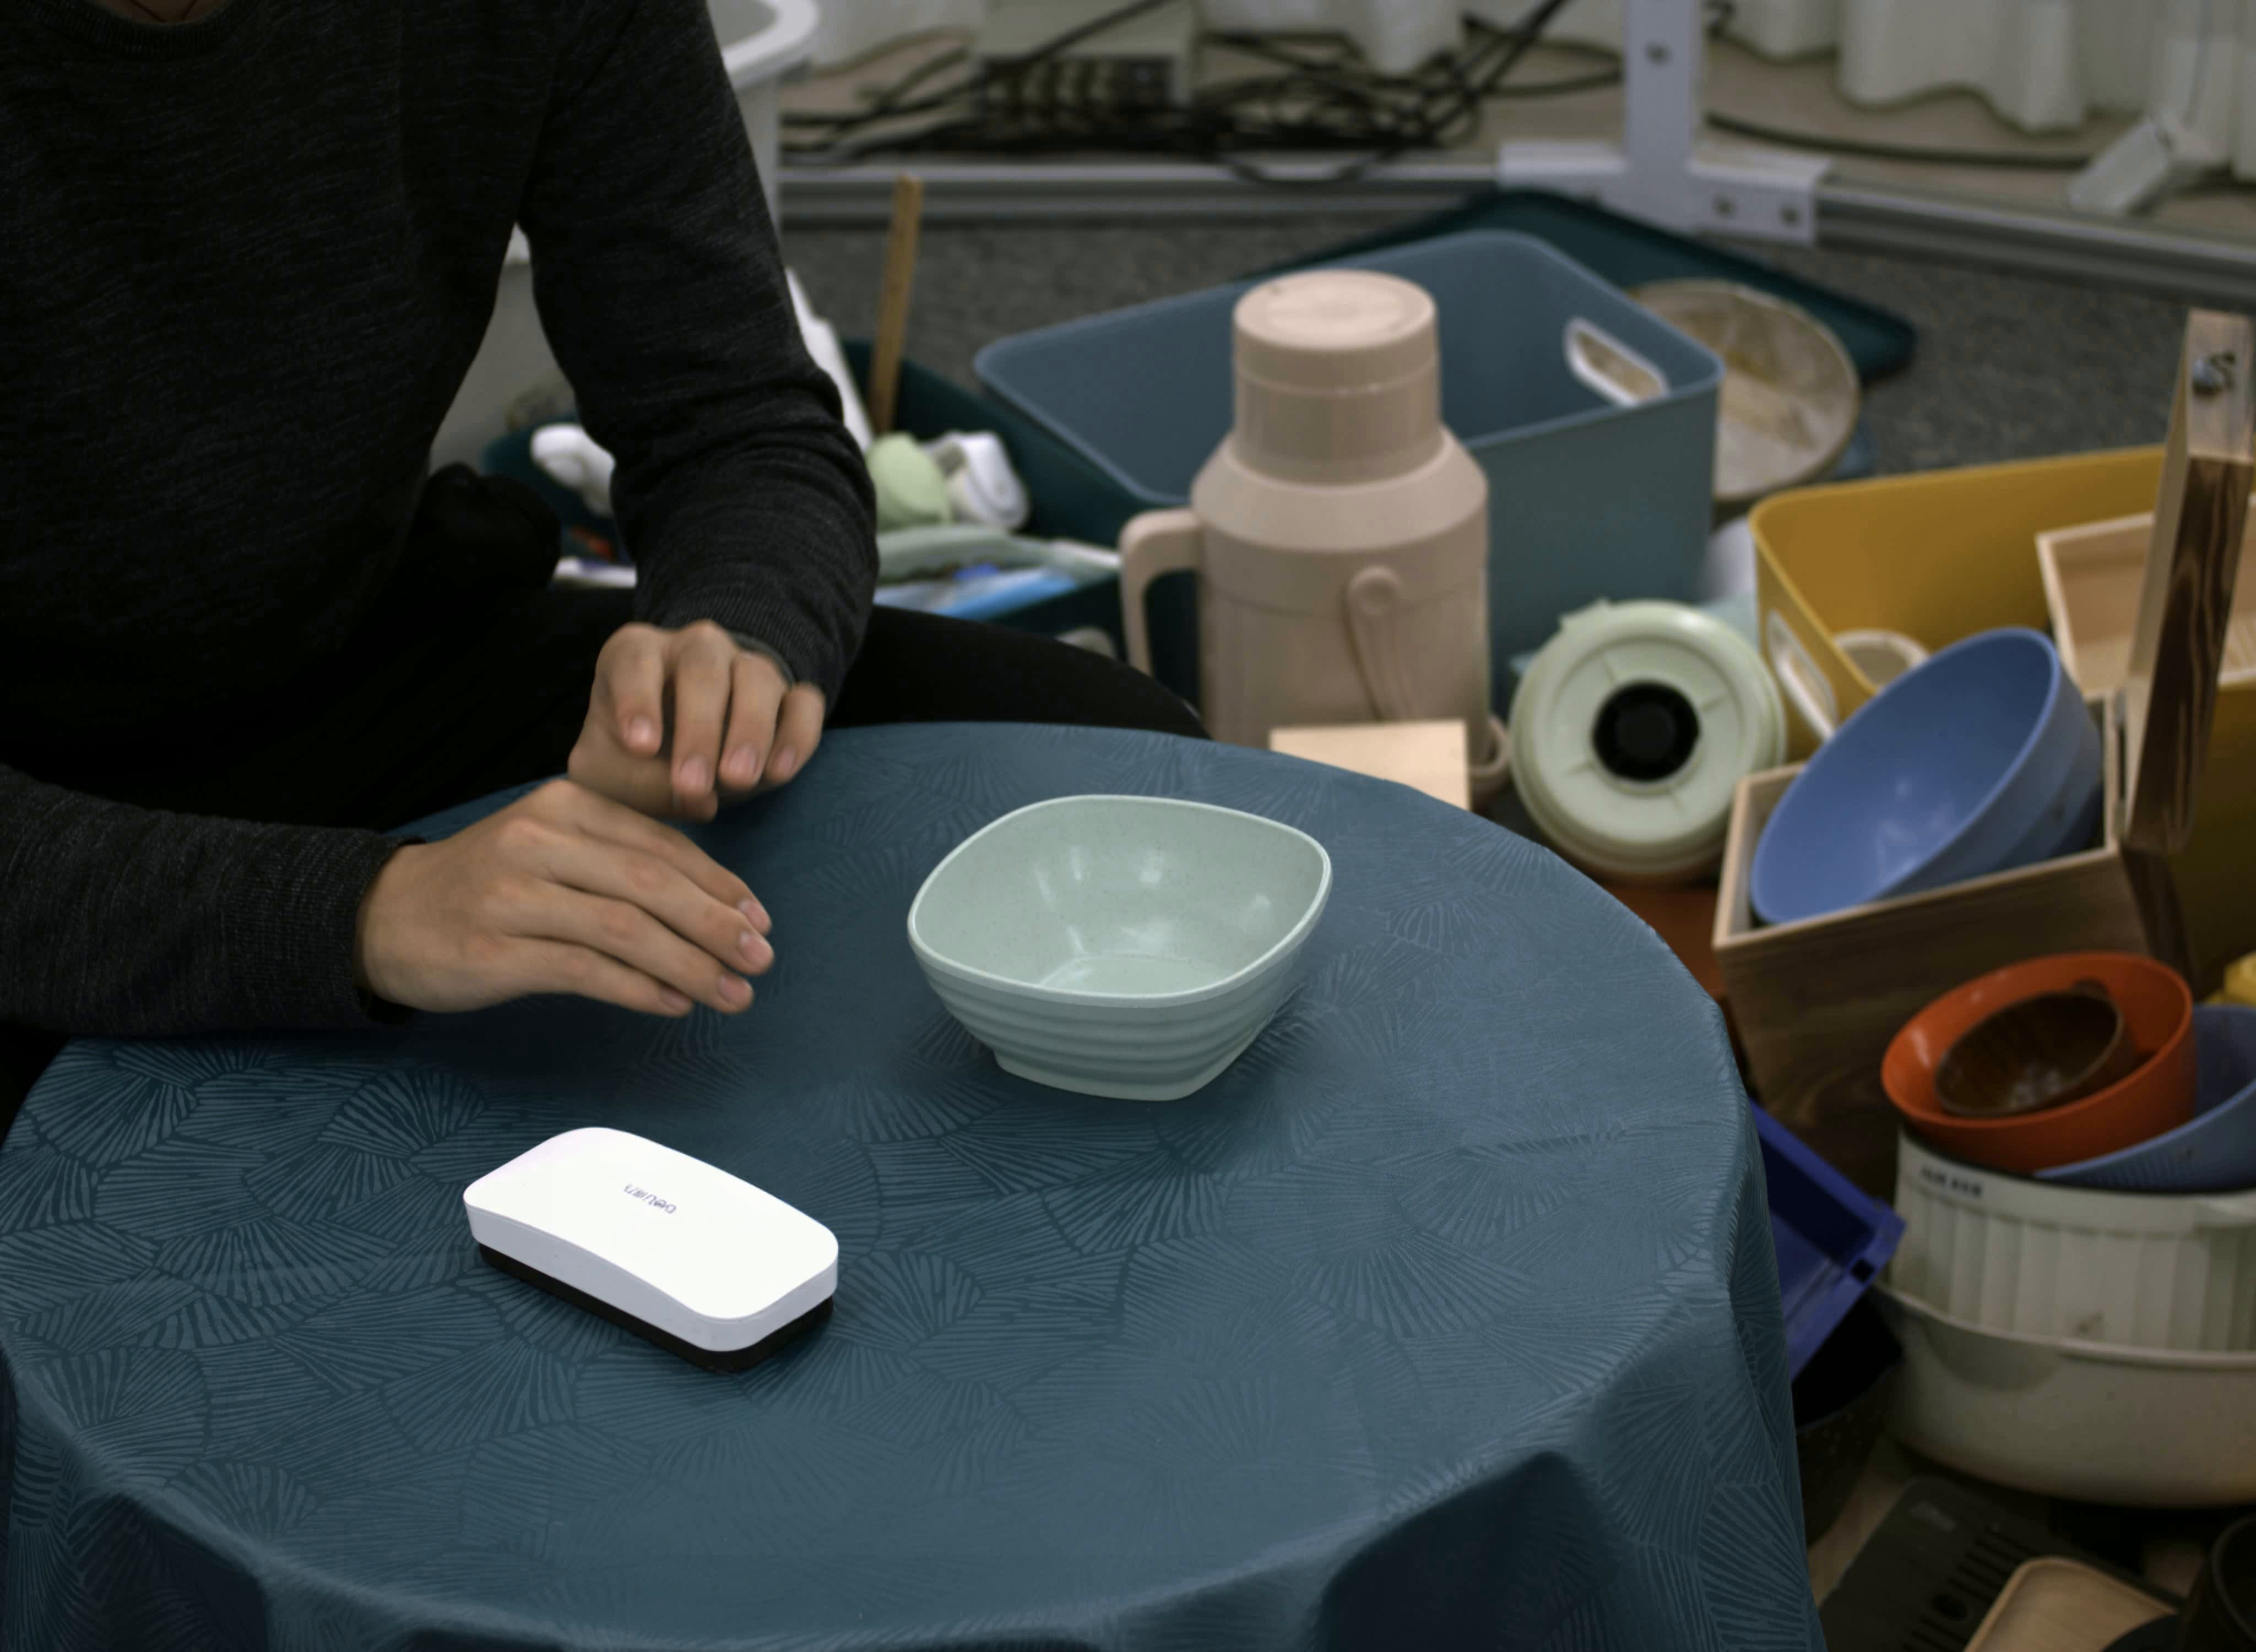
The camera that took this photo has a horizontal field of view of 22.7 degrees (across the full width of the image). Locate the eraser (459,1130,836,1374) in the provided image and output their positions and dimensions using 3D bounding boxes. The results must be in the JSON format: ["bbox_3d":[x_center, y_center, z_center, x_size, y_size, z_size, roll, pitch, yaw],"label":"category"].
[{"bbox_3d":[-0.155,0.134,1.818,0.131,0.034,0.064,22,34,37],"label":"eraser"}]

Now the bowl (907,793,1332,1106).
[{"bbox_3d":[-0.002,0.048,1.943,0.151,0.058,0.154,-1,28,1],"label":"bowl"}]
